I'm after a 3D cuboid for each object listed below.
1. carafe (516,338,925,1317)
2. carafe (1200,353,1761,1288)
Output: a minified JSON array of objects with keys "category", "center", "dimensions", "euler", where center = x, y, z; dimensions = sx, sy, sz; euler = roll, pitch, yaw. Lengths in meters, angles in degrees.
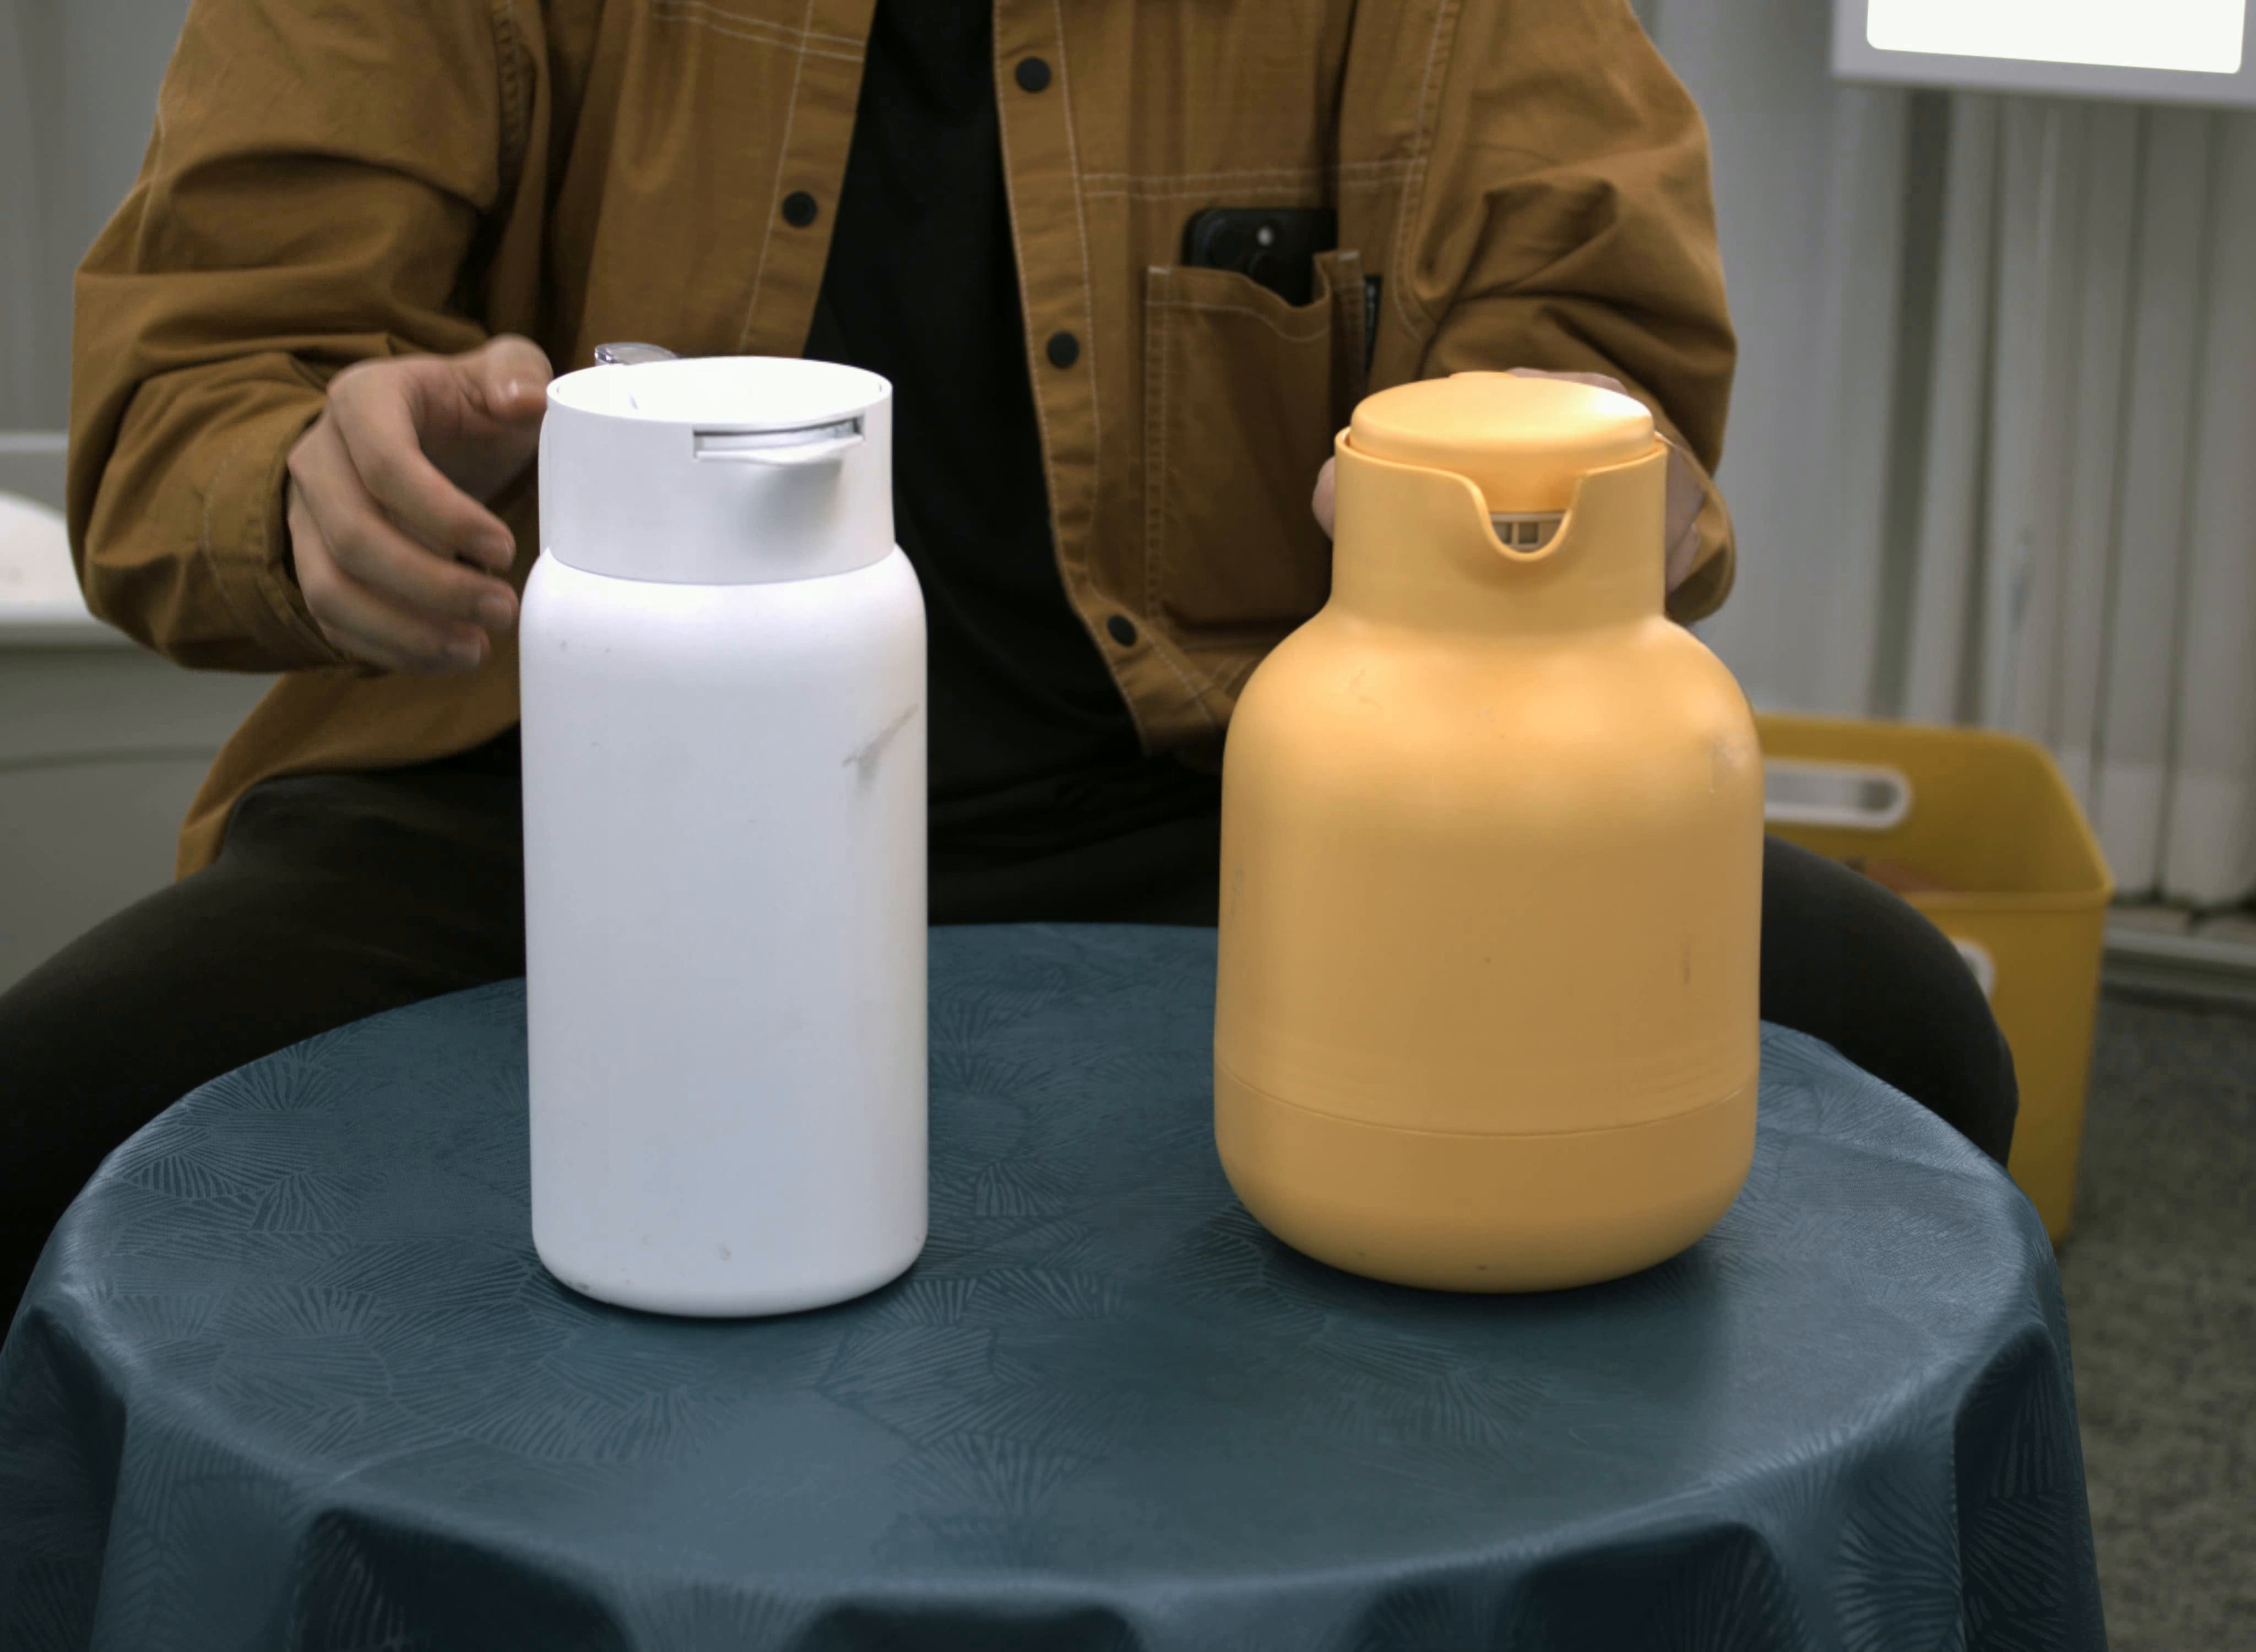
[{"category":"carafe","center":[-0.127,-0.004,1.535],"dimensions":[0.124,0.271,0.170],"euler":[-11,19,-28]},{"category":"carafe","center":[0.107,-0.010,1.571],"dimensions":[0.163,0.262,0.201],"euler":[3,18,-1]}]
